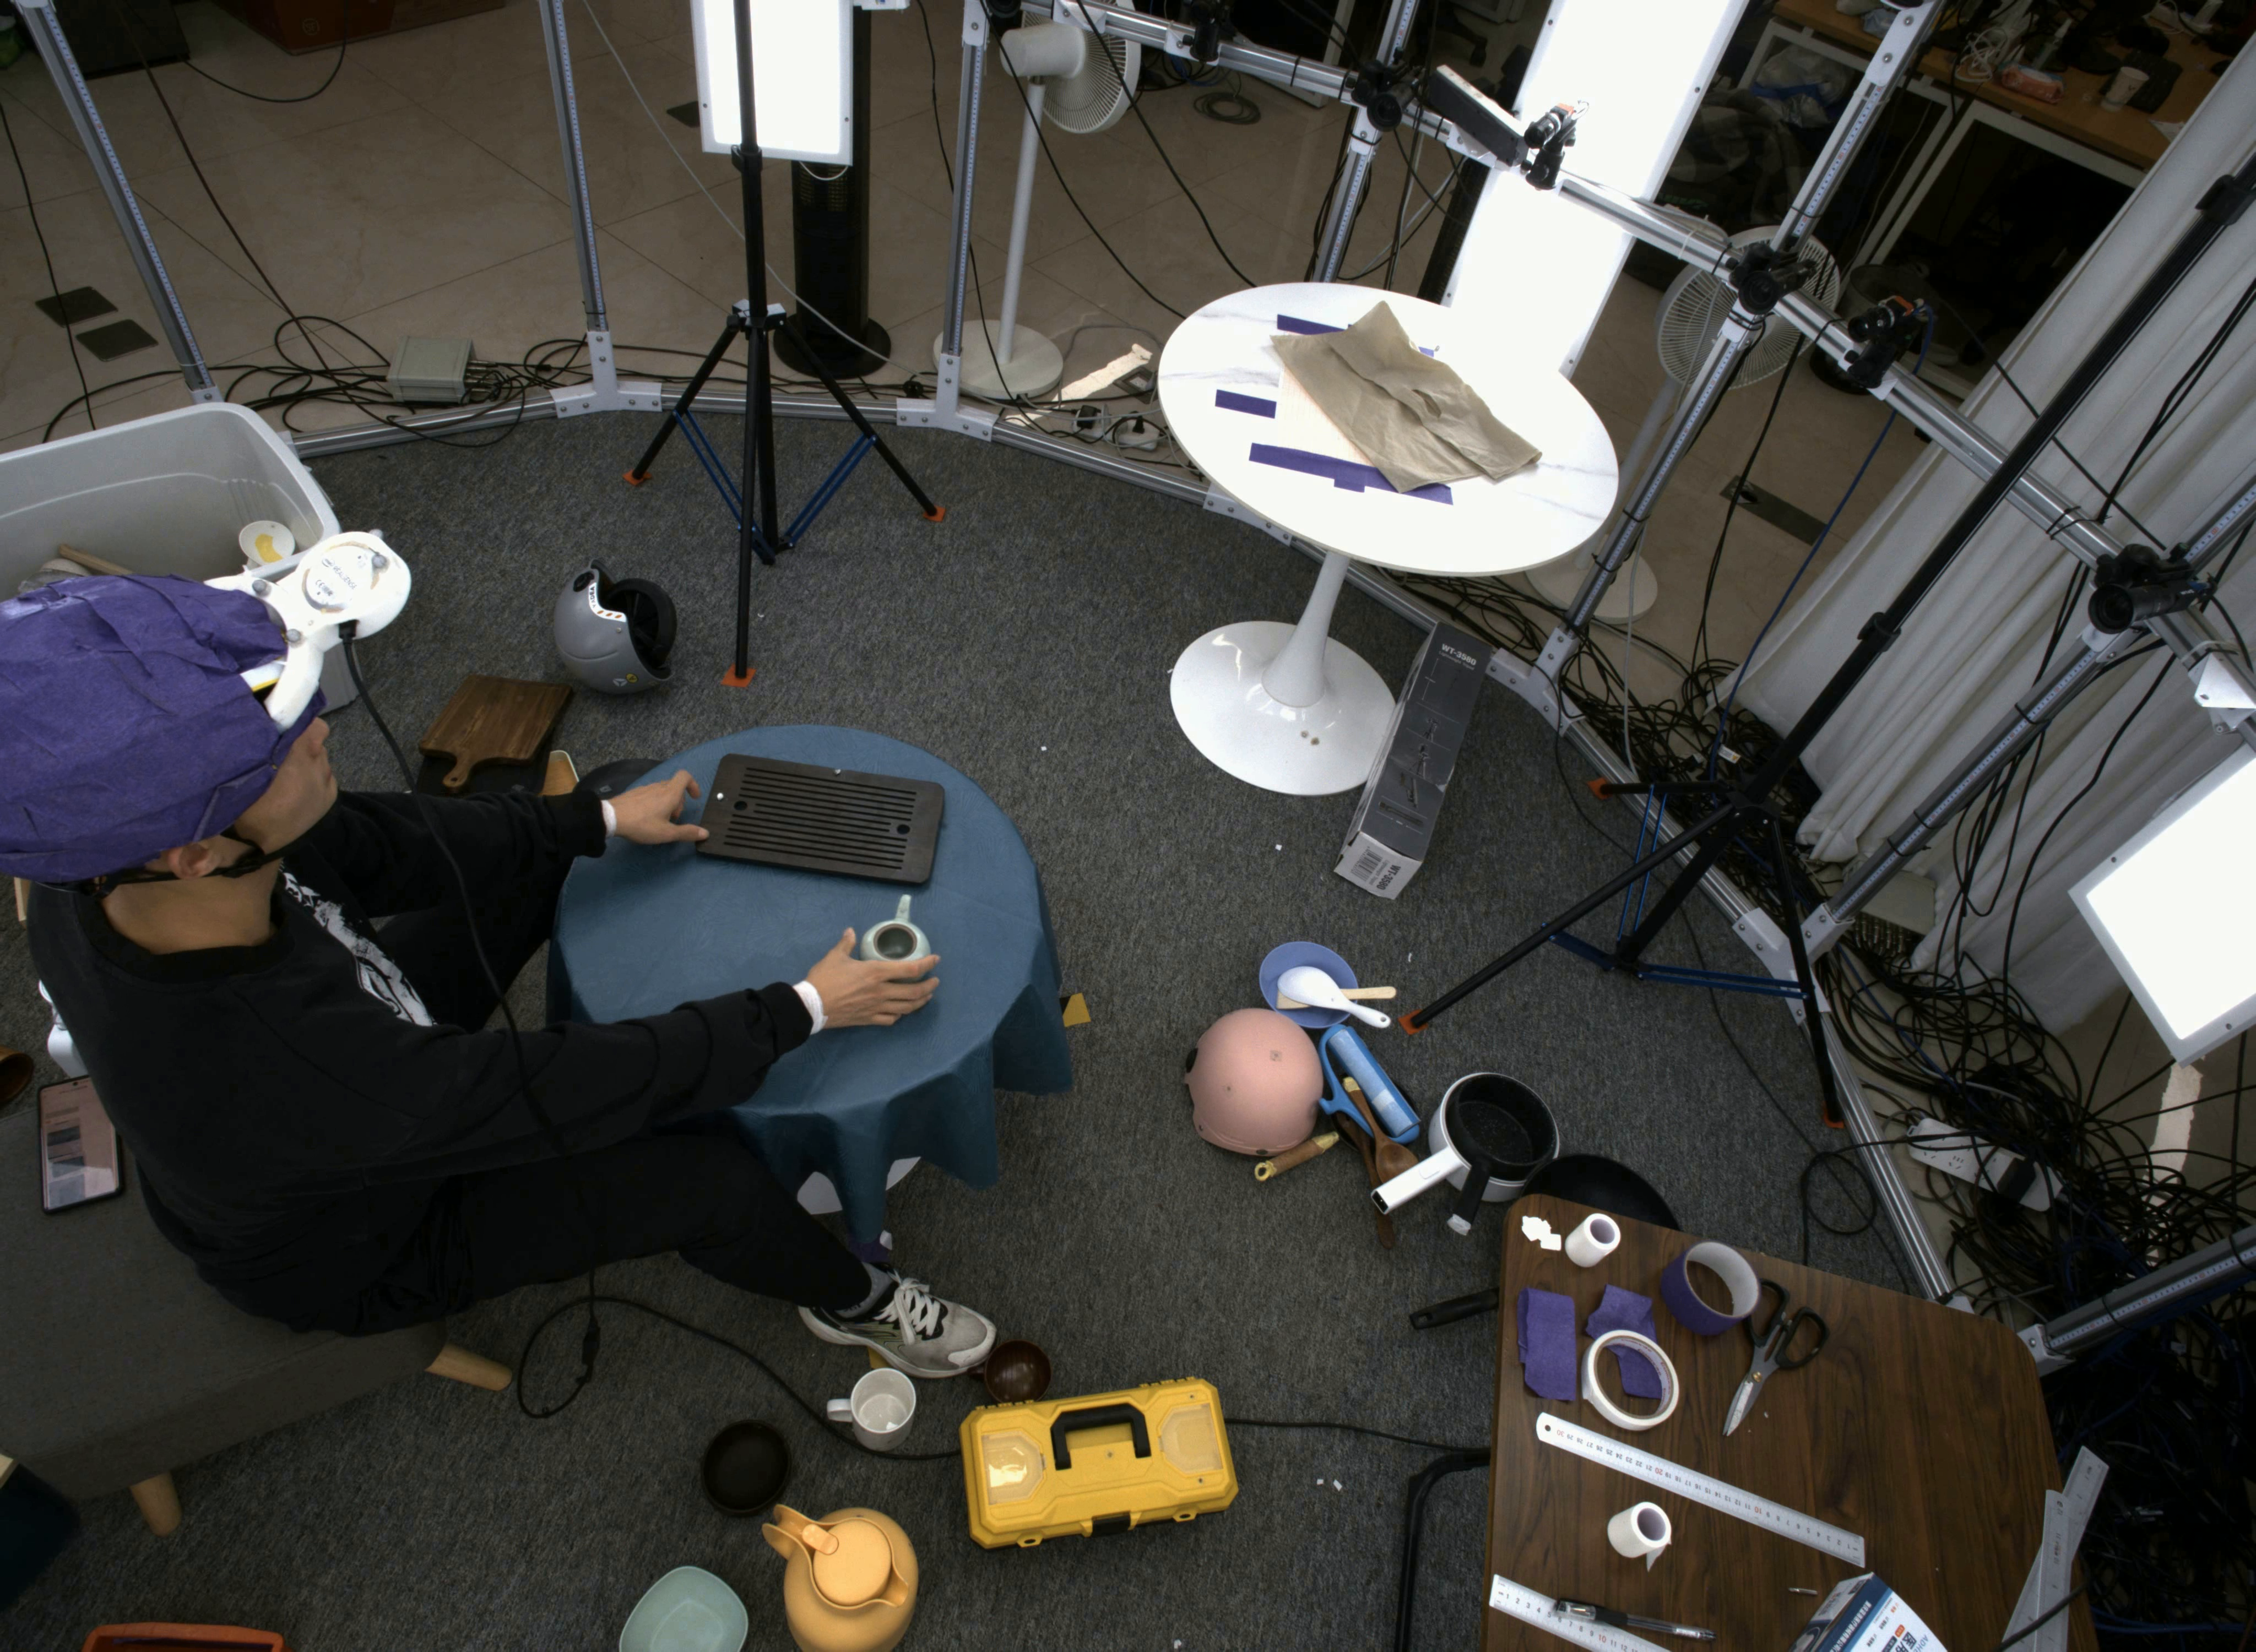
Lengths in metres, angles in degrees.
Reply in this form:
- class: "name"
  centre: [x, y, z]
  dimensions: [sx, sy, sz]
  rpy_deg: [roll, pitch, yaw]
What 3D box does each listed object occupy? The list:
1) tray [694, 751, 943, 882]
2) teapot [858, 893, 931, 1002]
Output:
- class: "tray"
  centre: [-0.406, -0.013, 1.724]
  dimensions: [0.305, 0.019, 0.167]
  rpy_deg: [8, 53, -8]
- class: "teapot"
  centre: [-0.286, 0.155, 1.594]
  dimensions: [0.088, 0.076, 0.141]
  rpy_deg: [12, 50, -4]
